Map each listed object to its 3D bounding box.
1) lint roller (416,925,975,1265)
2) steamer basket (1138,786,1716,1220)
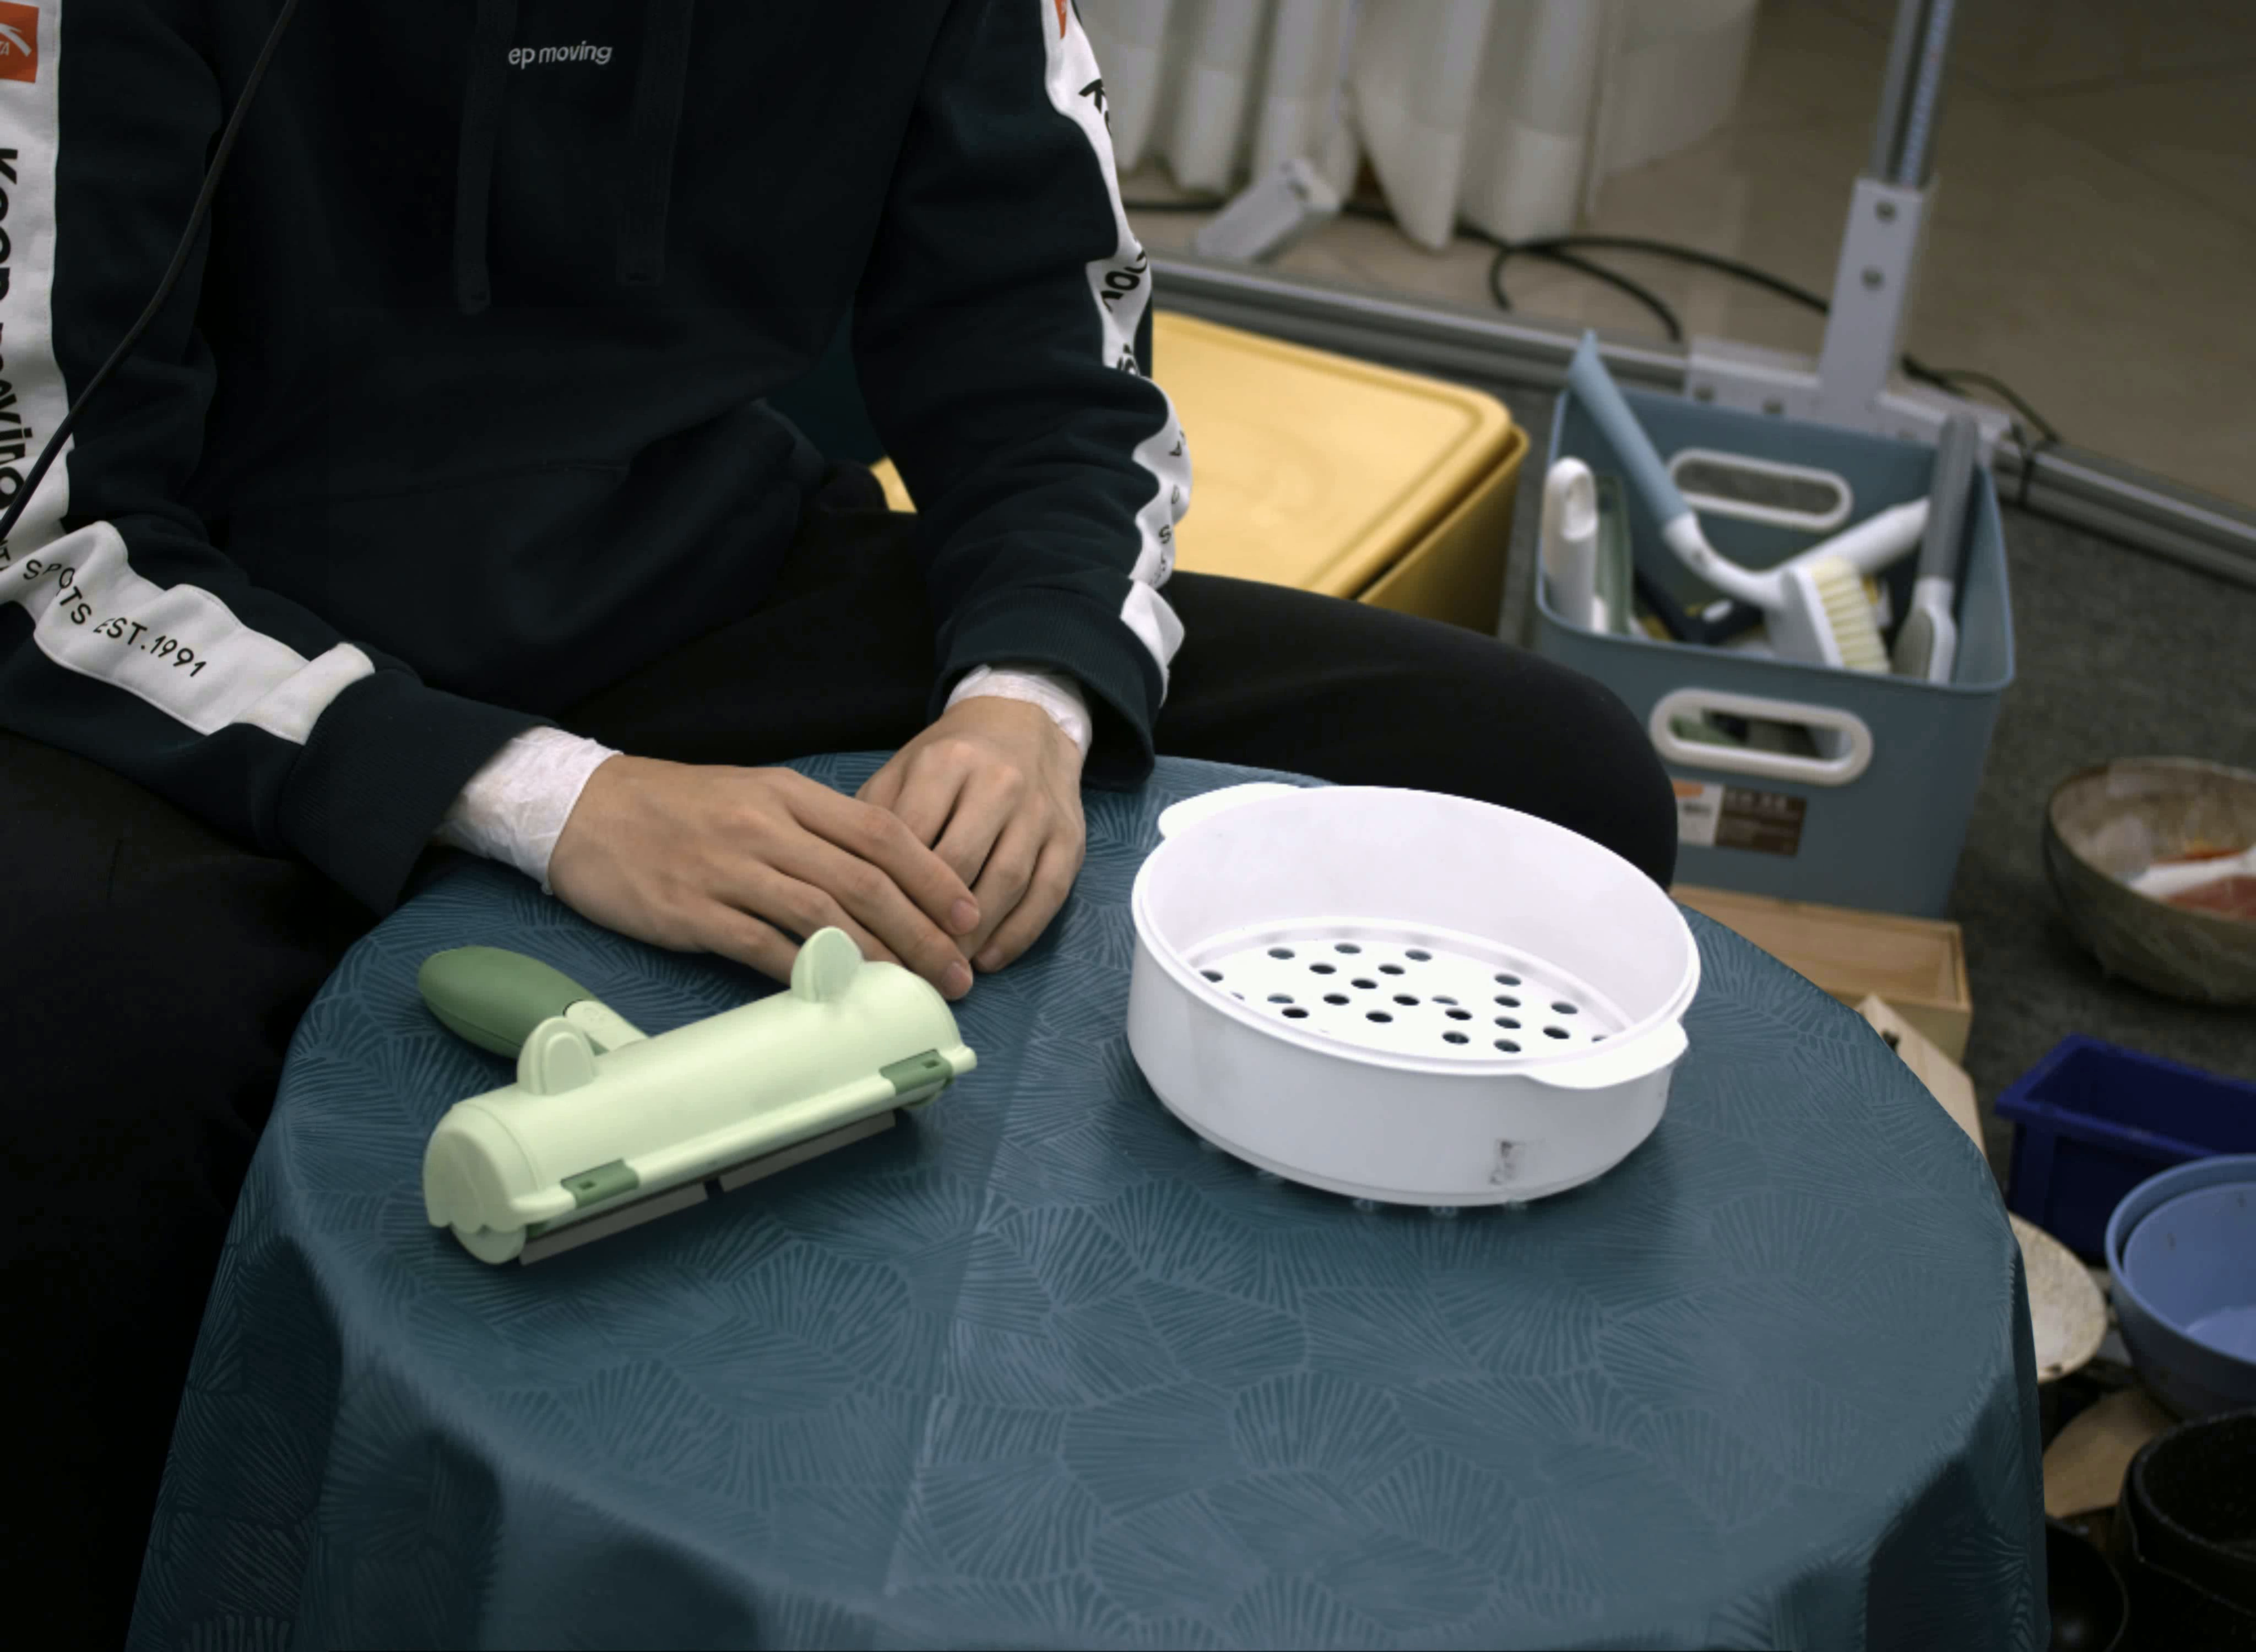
[{"bbox_3d":[-0.179,0.063,1.794,0.197,0.082,0.185,-18,40,-39],"label":"lint roller"},{"bbox_3d":[0.102,0.063,1.866,0.201,0.069,0.232,-17,36,-37],"label":"steamer basket"}]
